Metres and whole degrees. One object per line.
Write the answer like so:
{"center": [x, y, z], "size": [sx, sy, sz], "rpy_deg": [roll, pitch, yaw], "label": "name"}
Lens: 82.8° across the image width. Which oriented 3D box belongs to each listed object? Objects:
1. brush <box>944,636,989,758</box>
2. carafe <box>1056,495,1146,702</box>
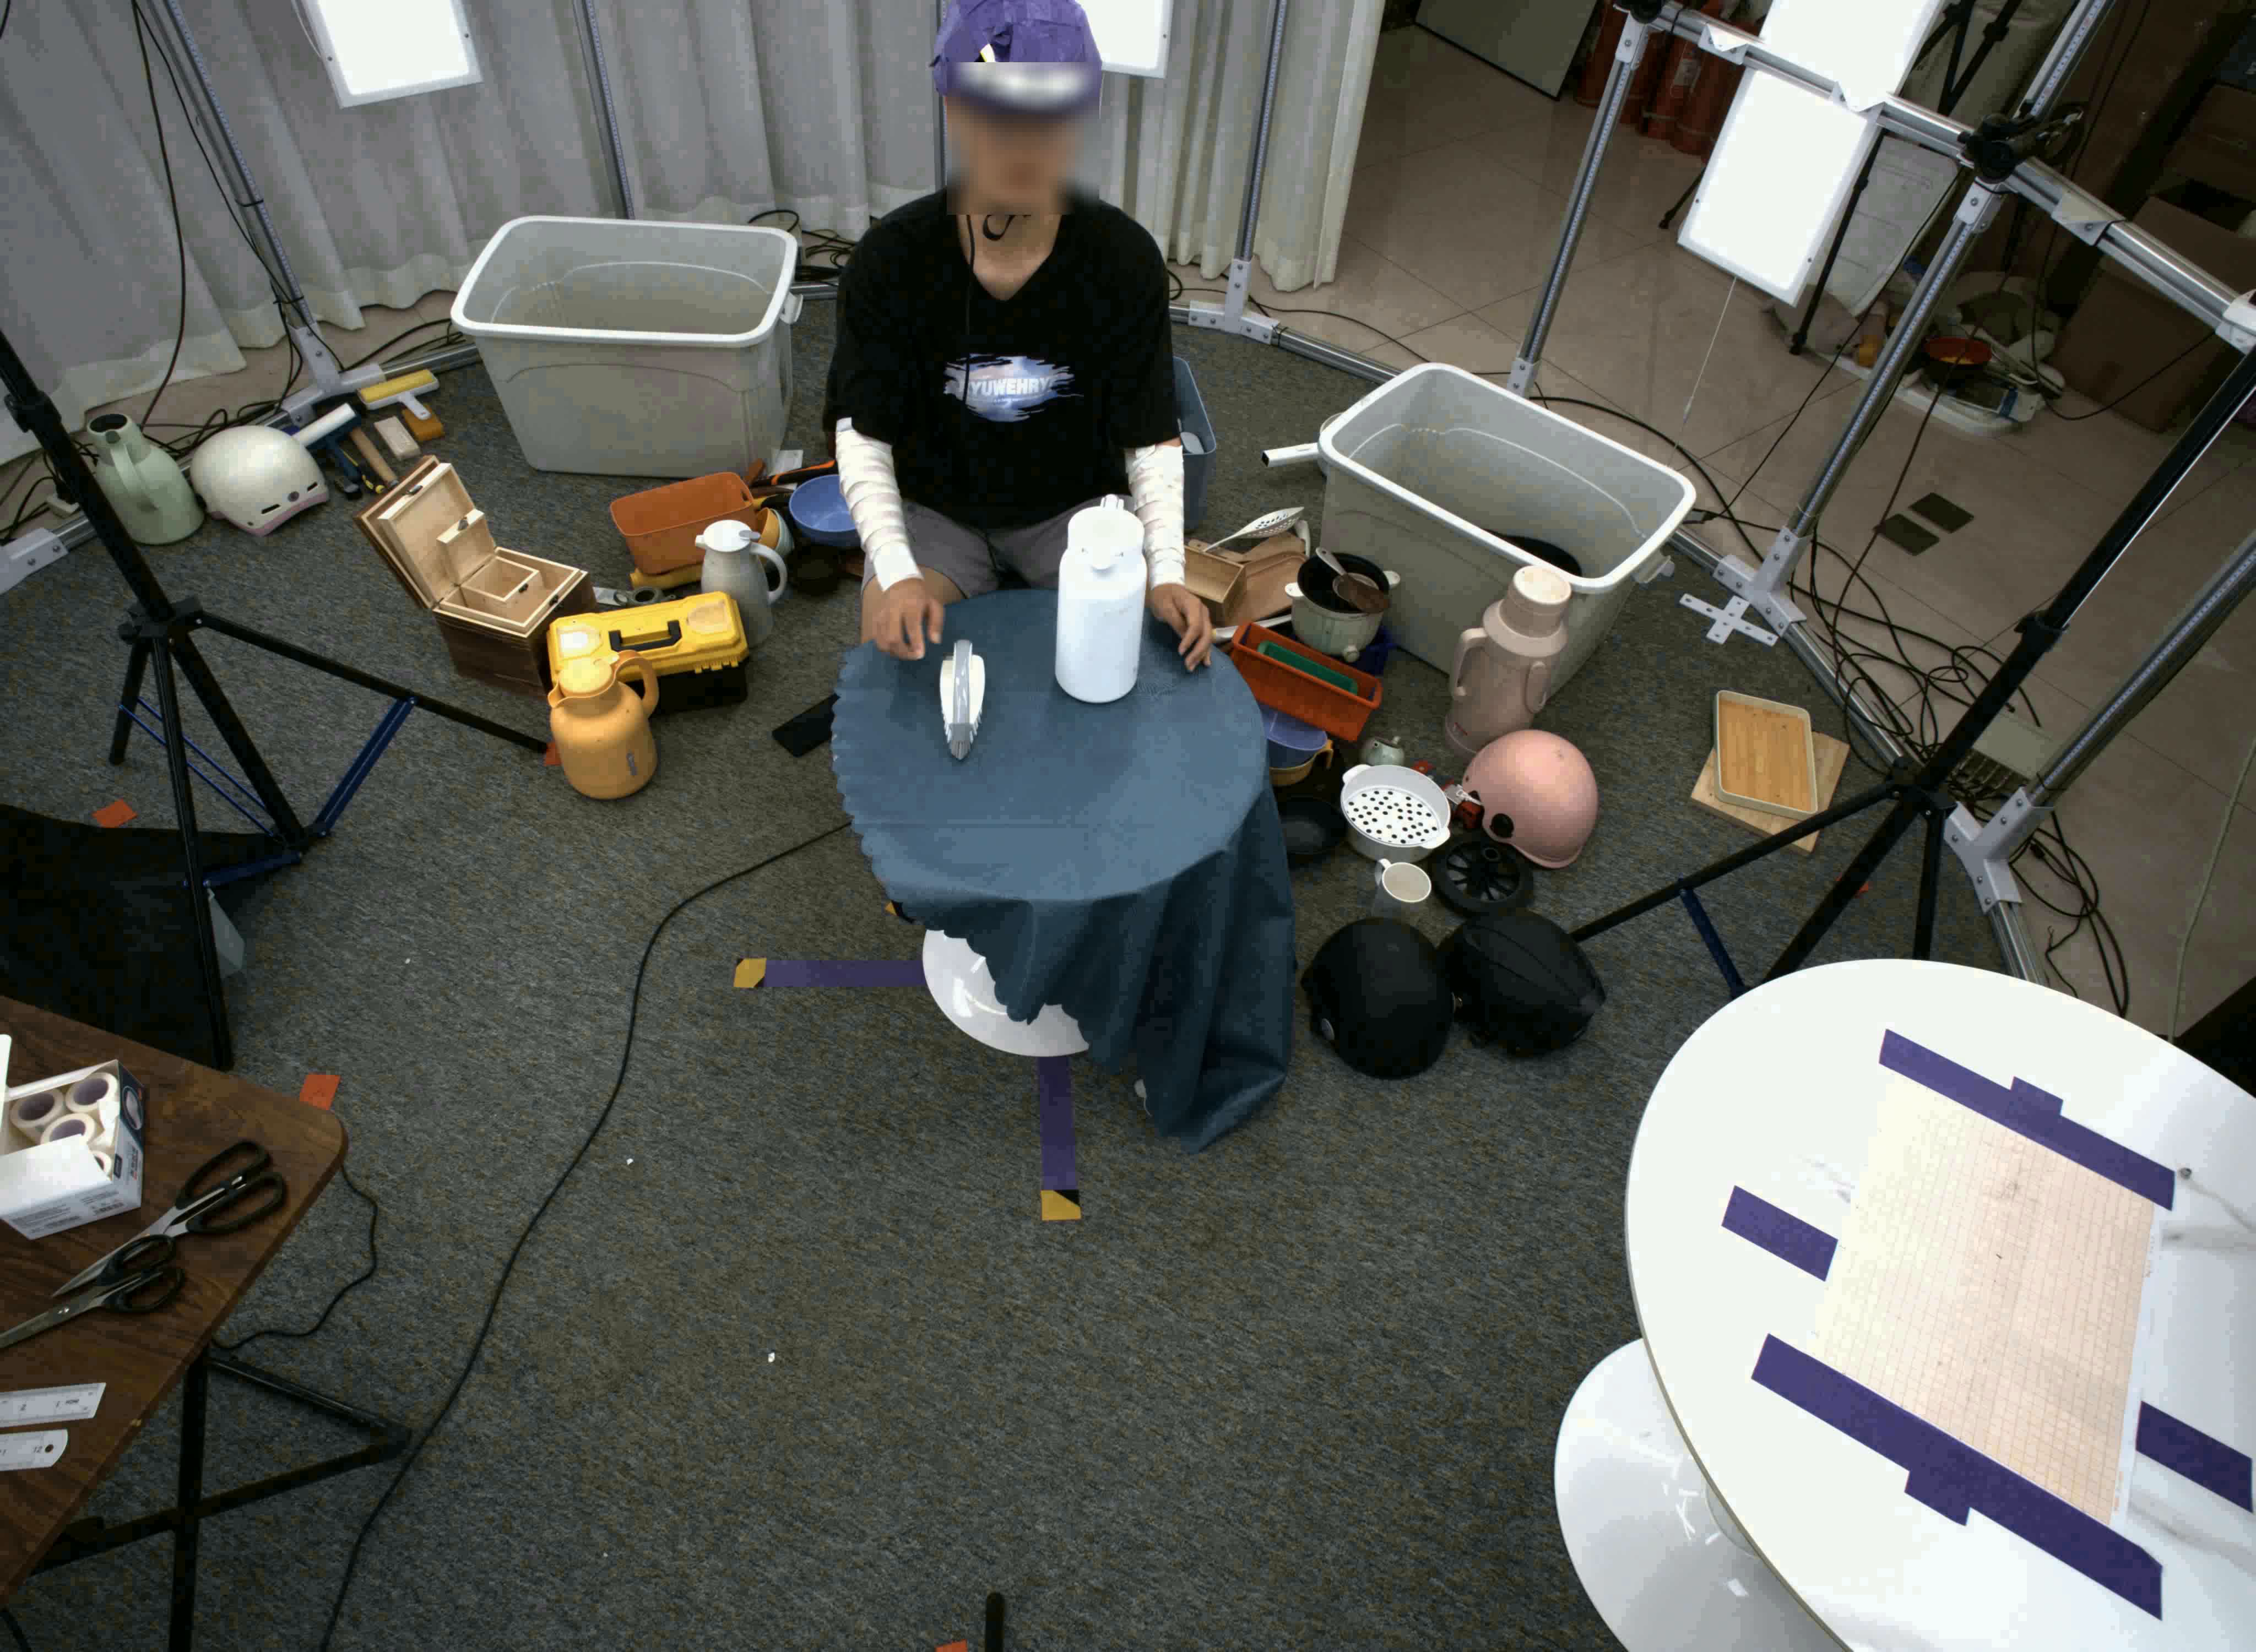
{"center": [-0.223, -0.186, 1.760], "size": [0.061, 0.092, 0.180], "rpy_deg": [-1, 51, -2], "label": "brush"}
{"center": [-0.038, -0.314, 1.769], "size": [0.124, 0.262, 0.177], "rpy_deg": [4, 49, 2], "label": "carafe"}
